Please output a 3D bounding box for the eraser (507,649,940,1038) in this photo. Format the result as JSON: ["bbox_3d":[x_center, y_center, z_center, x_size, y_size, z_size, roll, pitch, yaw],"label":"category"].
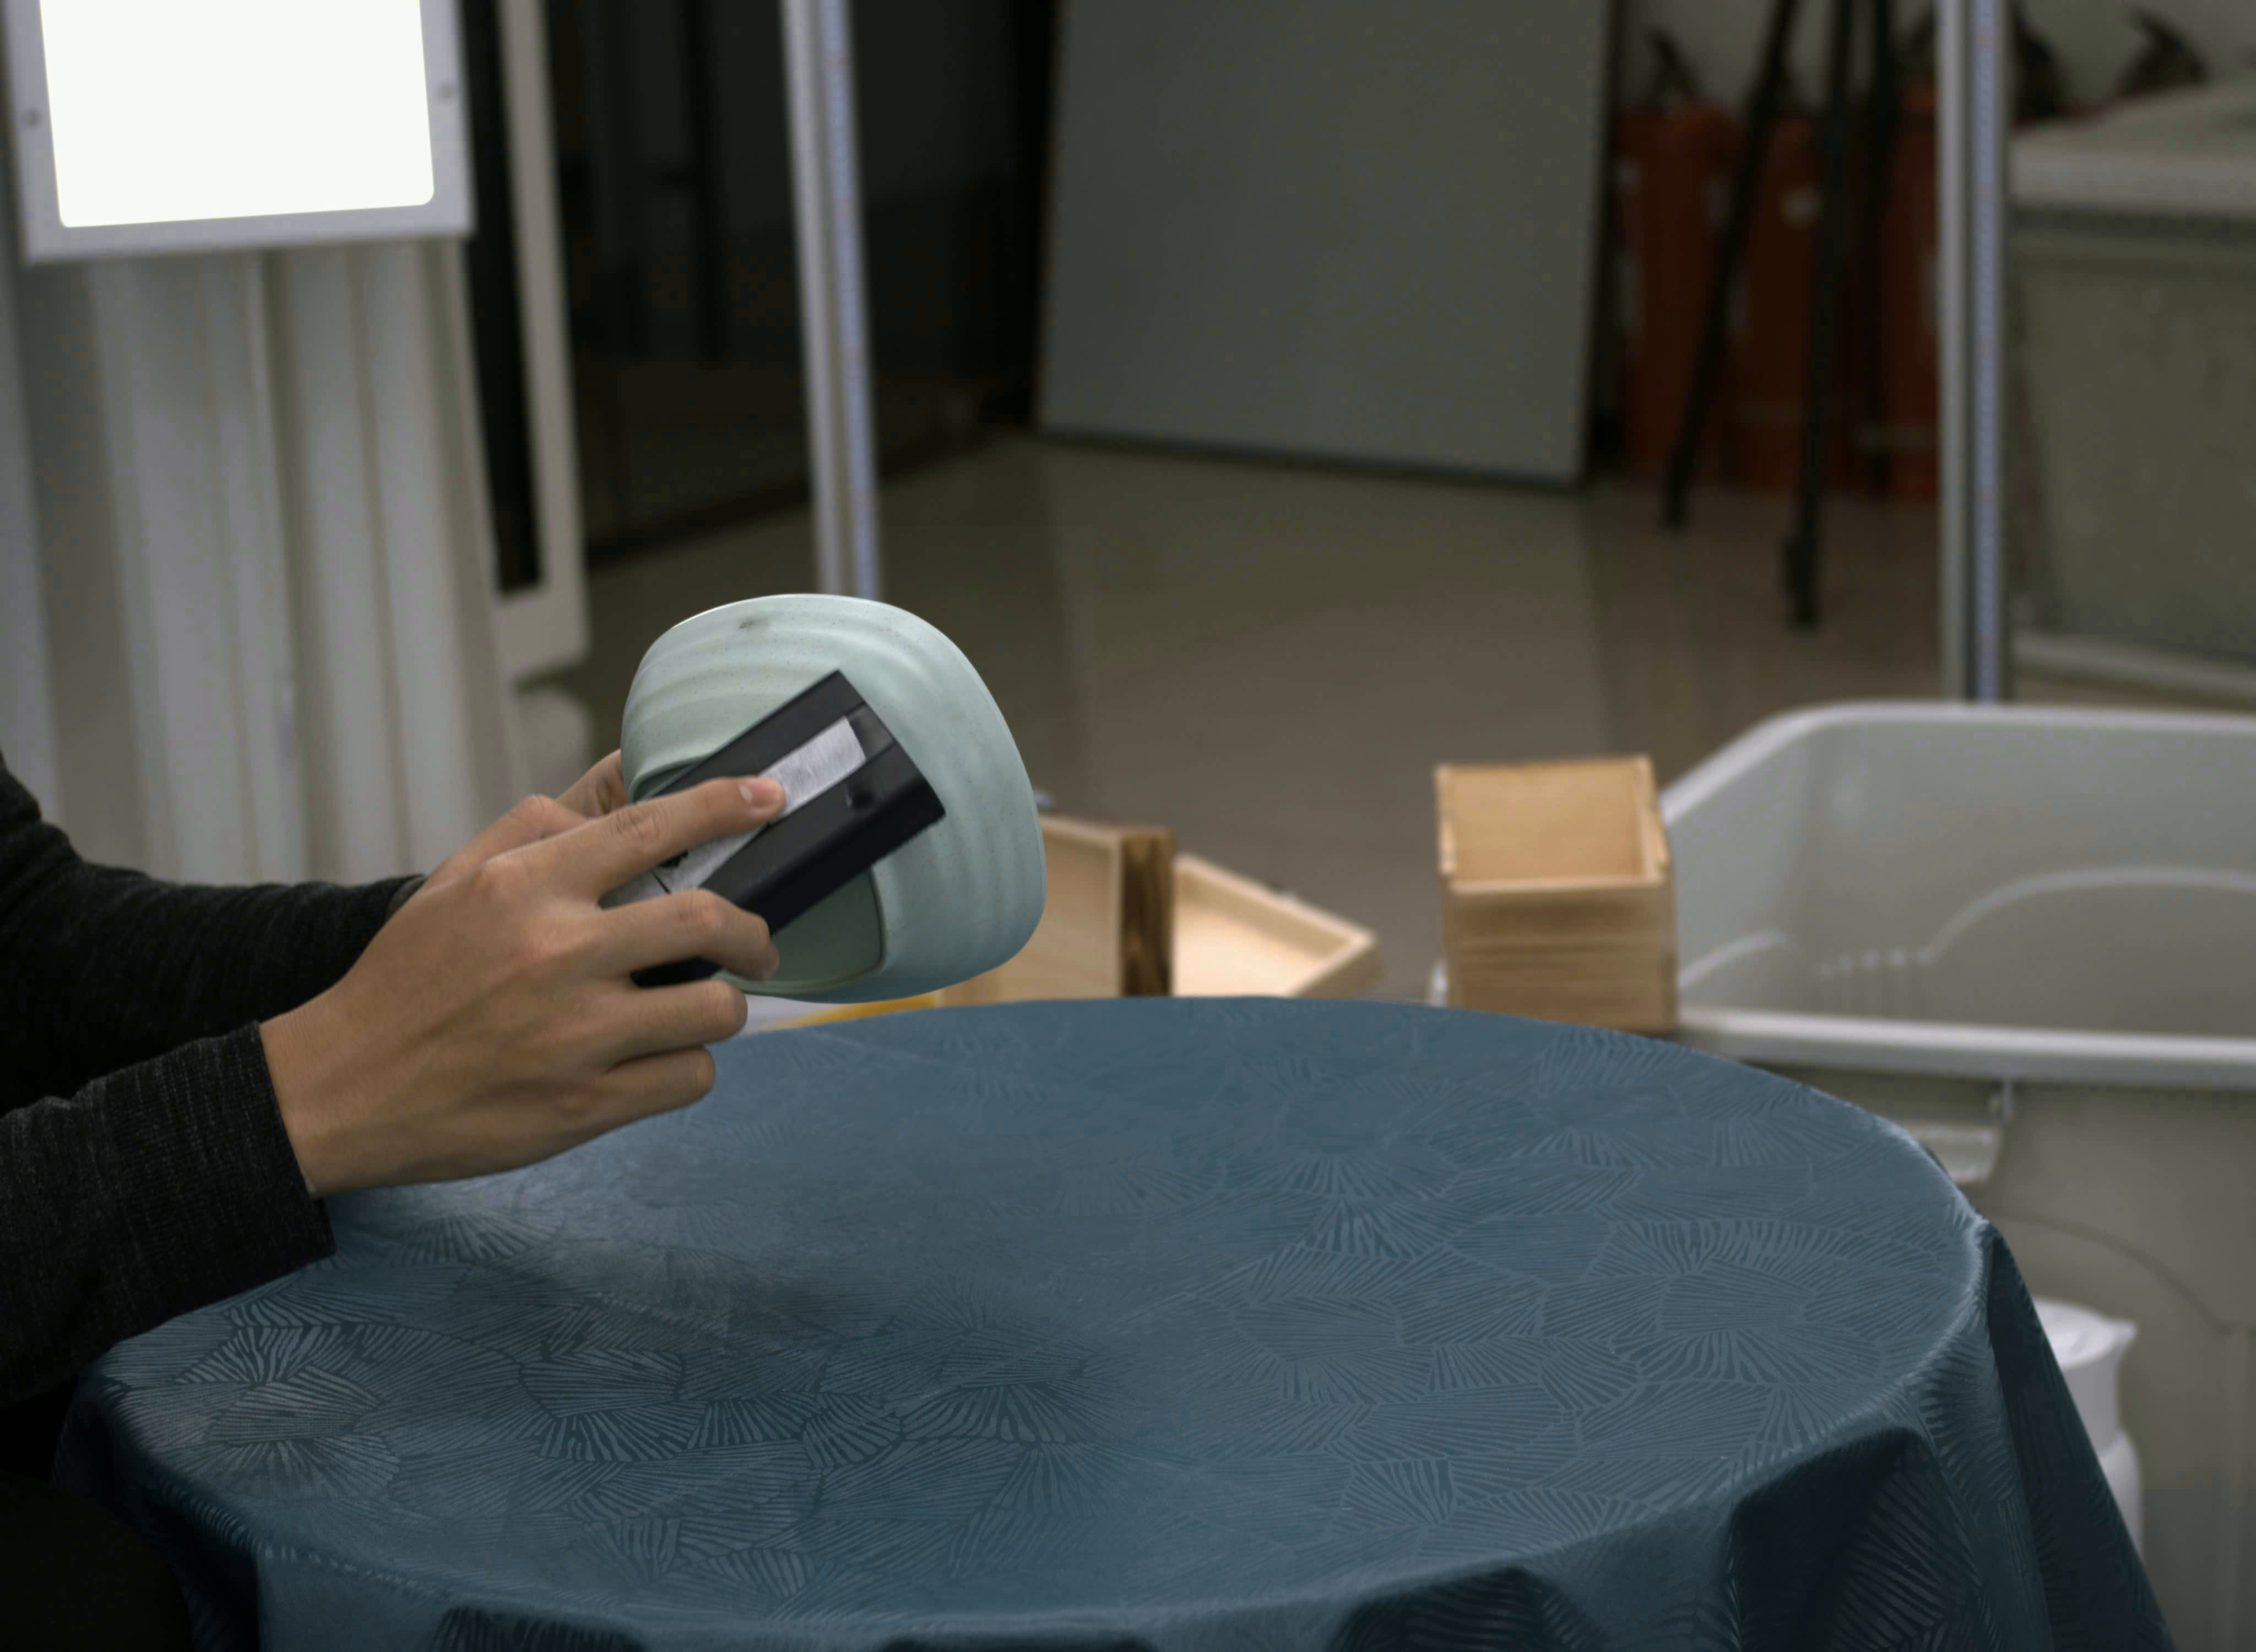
[{"bbox_3d":[-0.118,0.004,1.588,0.124,0.030,0.054,-38,61,-10],"label":"eraser"}]

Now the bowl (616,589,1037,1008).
[{"bbox_3d":[-0.103,0.002,1.663,0.152,0.152,0.058,4,29,30],"label":"bowl"}]
